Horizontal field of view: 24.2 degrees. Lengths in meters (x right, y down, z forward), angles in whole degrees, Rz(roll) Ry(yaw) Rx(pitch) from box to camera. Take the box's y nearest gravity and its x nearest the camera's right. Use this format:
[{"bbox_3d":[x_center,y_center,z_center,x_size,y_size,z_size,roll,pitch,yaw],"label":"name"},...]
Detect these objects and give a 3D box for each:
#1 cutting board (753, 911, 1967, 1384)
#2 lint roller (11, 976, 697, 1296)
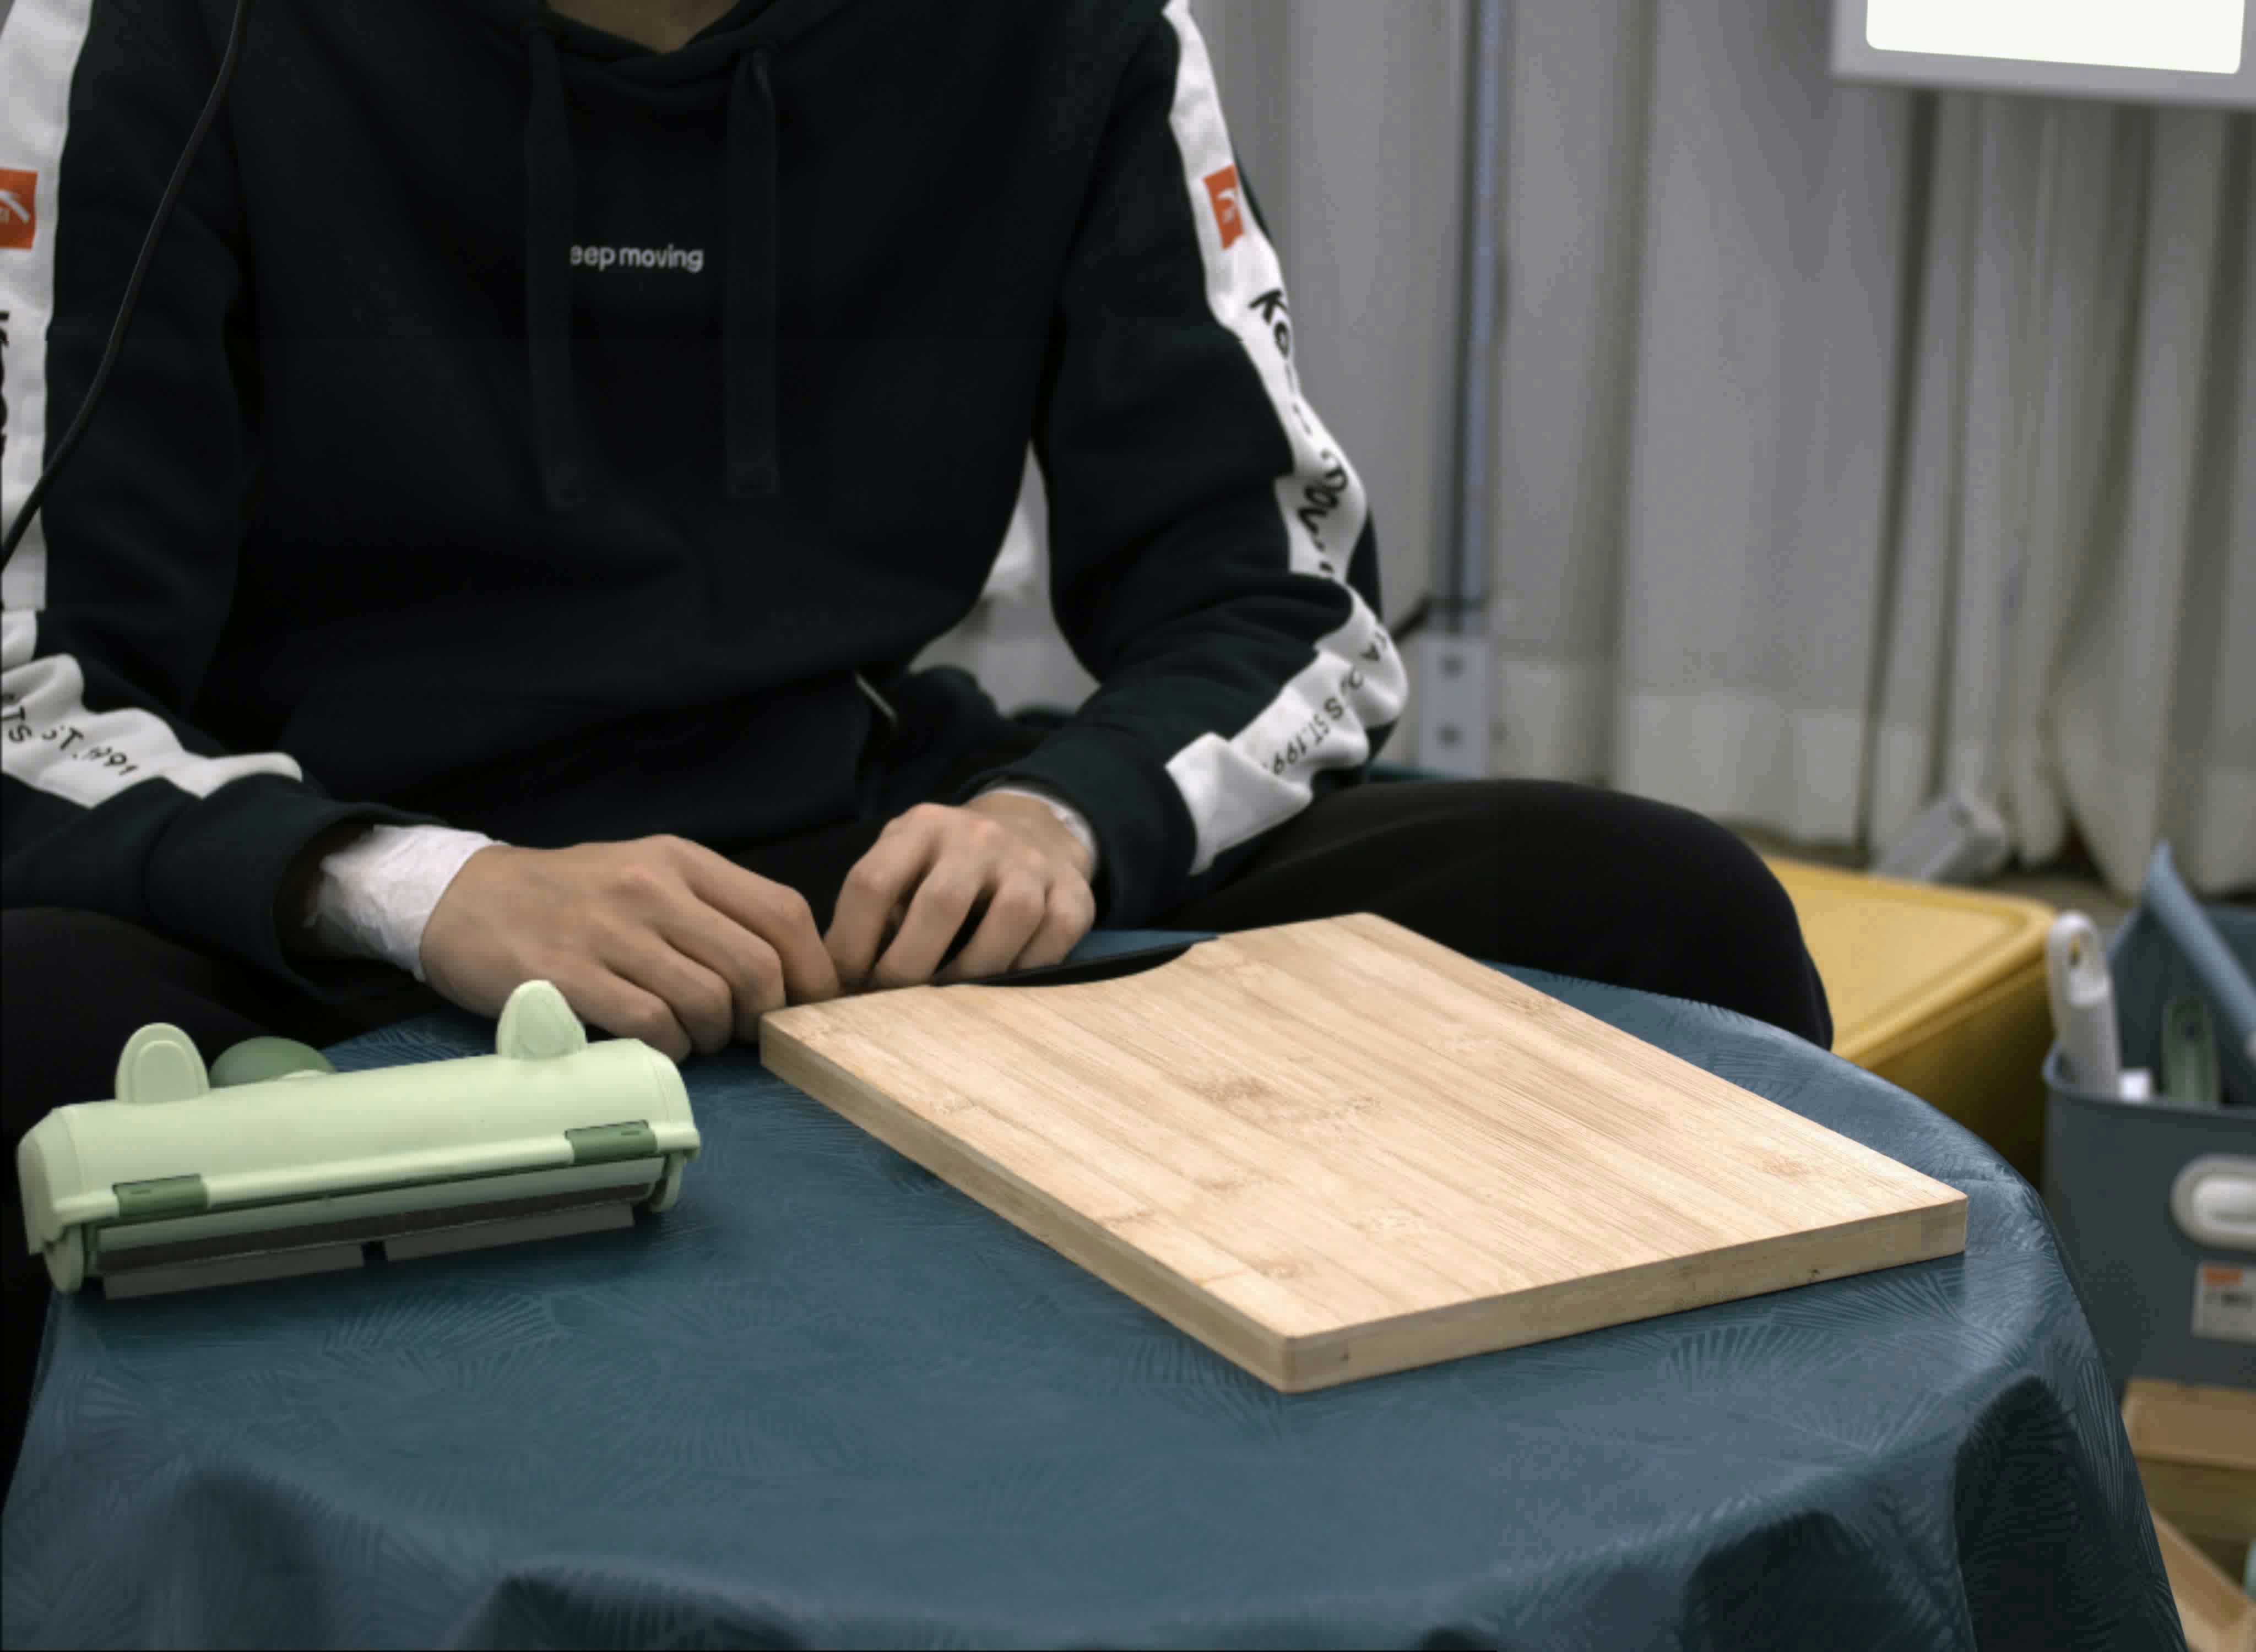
[{"bbox_3d":[0.063,0.094,1.657,0.252,0.024,0.344,-8,18,-30],"label":"cutting board"},{"bbox_3d":[-0.249,0.075,1.600,0.199,0.083,0.181,-6,21,-22],"label":"lint roller"}]
